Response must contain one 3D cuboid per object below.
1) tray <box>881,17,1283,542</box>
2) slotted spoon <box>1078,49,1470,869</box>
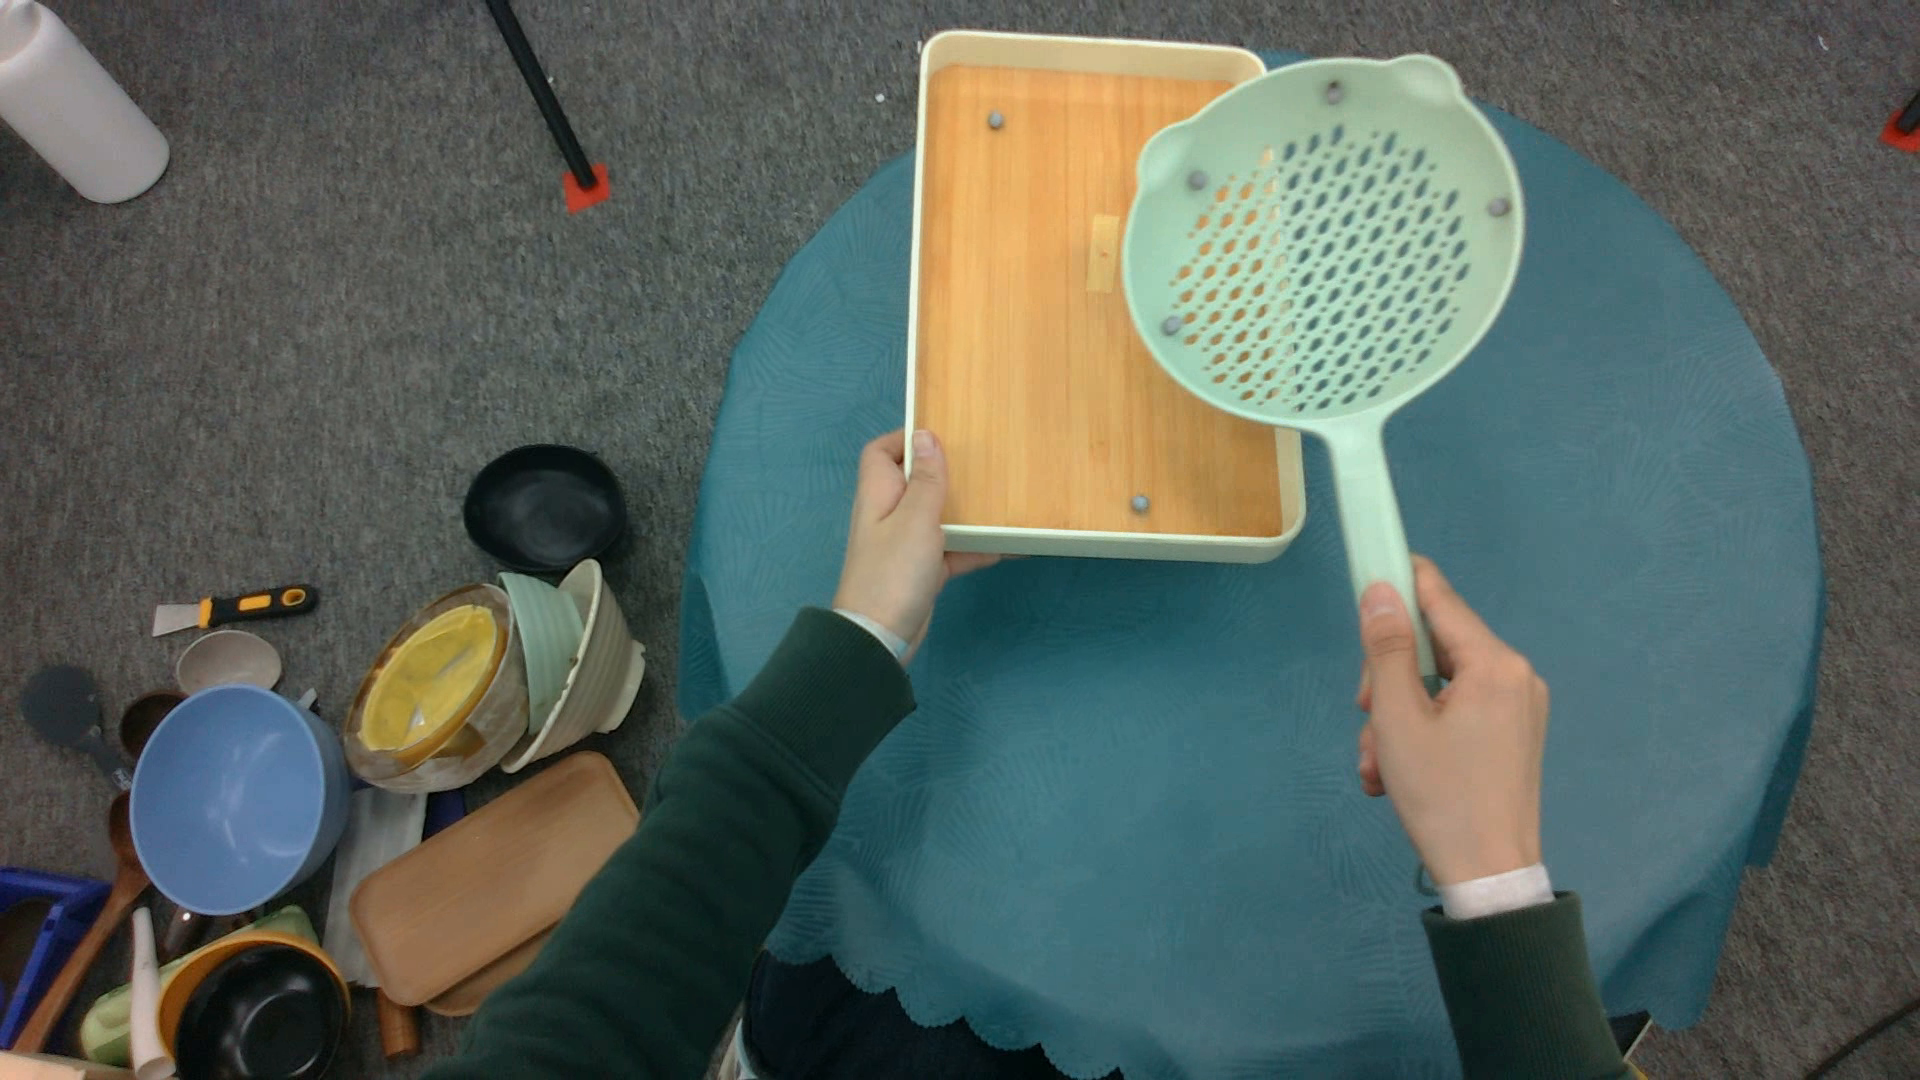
[{"bbox_3d":[0.059,-0.142,0.708,0.191,0.027,0.301,2,66,-3],"label":"tray"},{"bbox_3d":[0.154,-0.045,0.593,0.169,0.075,0.360,-13,66,13],"label":"slotted spoon"}]
